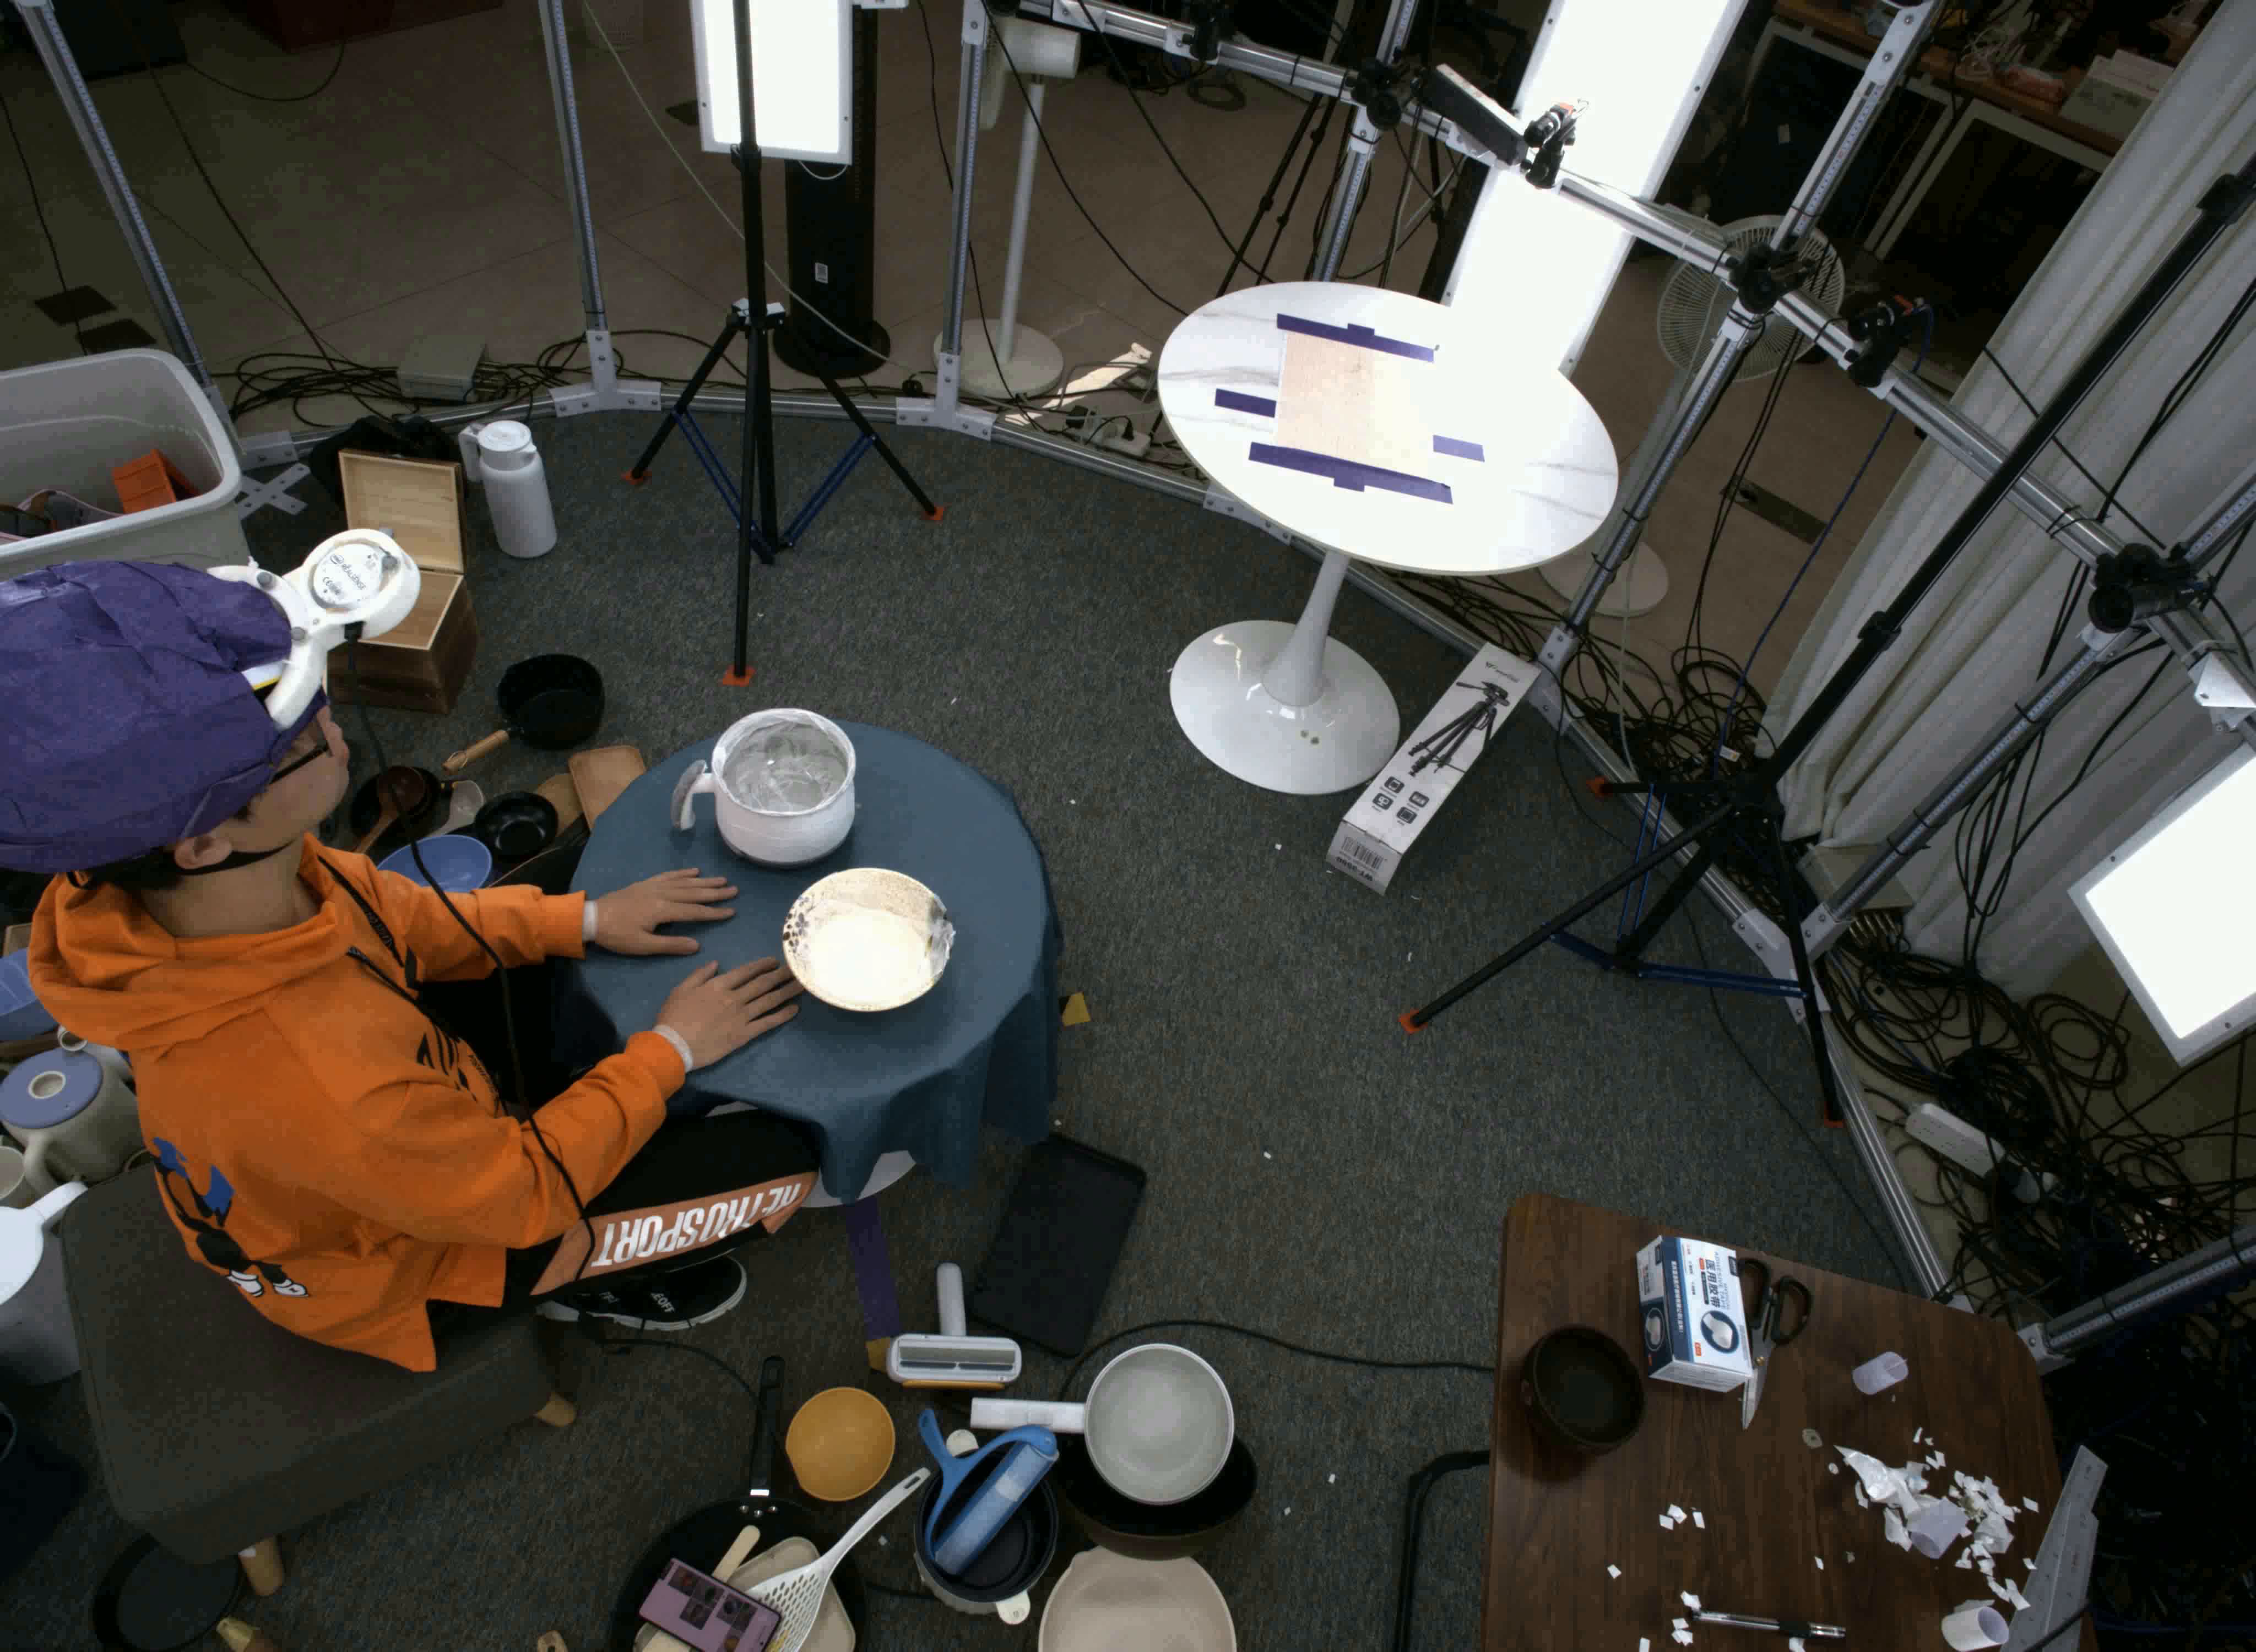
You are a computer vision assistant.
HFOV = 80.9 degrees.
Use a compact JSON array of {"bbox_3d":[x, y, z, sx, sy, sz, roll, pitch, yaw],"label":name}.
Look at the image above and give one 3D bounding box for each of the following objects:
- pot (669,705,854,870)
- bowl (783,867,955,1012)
[{"bbox_3d":[-0.467,-0.043,1.645,0.235,0.139,0.174,-6,54,-18],"label":"pot"},{"bbox_3d":[-0.314,0.152,1.580,0.203,0.079,0.200,7,53,-8],"label":"bowl"}]
